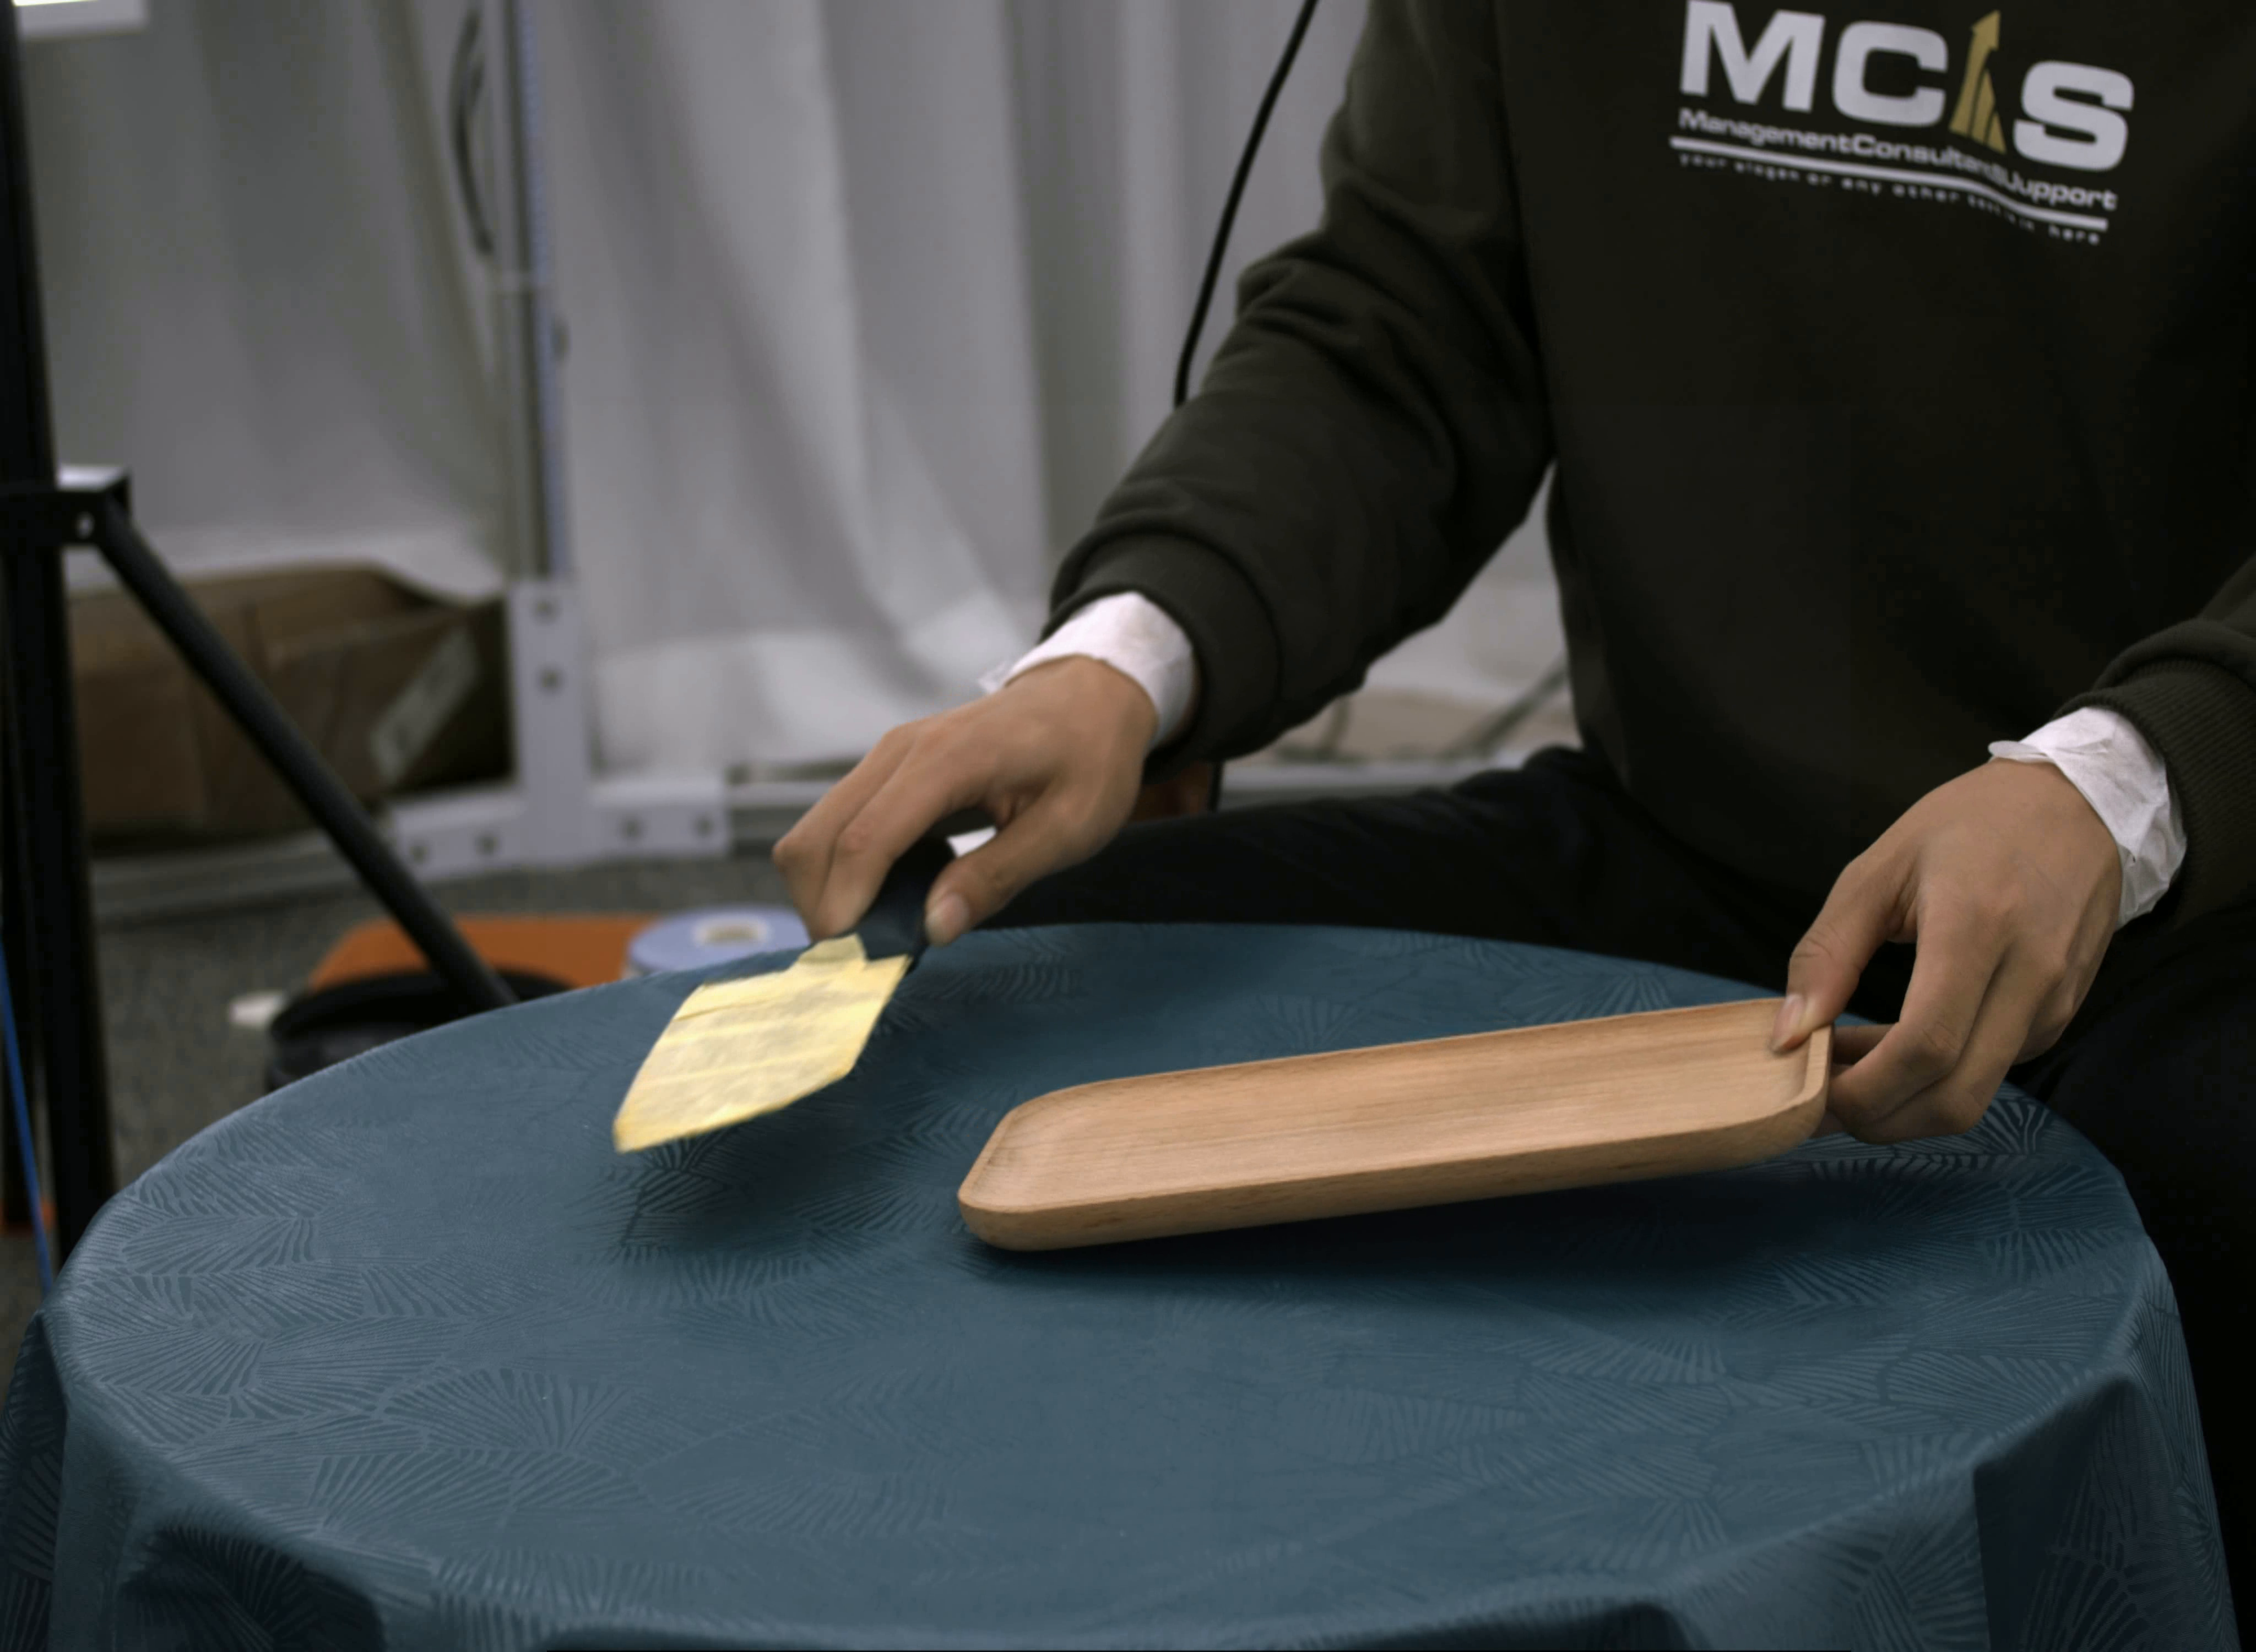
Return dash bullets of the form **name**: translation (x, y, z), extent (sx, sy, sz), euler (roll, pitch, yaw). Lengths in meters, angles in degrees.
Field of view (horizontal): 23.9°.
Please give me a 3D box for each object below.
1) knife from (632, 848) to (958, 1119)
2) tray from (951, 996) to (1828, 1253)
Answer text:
- **knife**: translation (-0.100, 0.050, 1.658), extent (0.081, 0.027, 0.288), euler (-8, 12, 12)
- **tray**: translation (0.077, 0.086, 1.529), extent (0.252, 0.023, 0.130), euler (-9, 10, 13)
